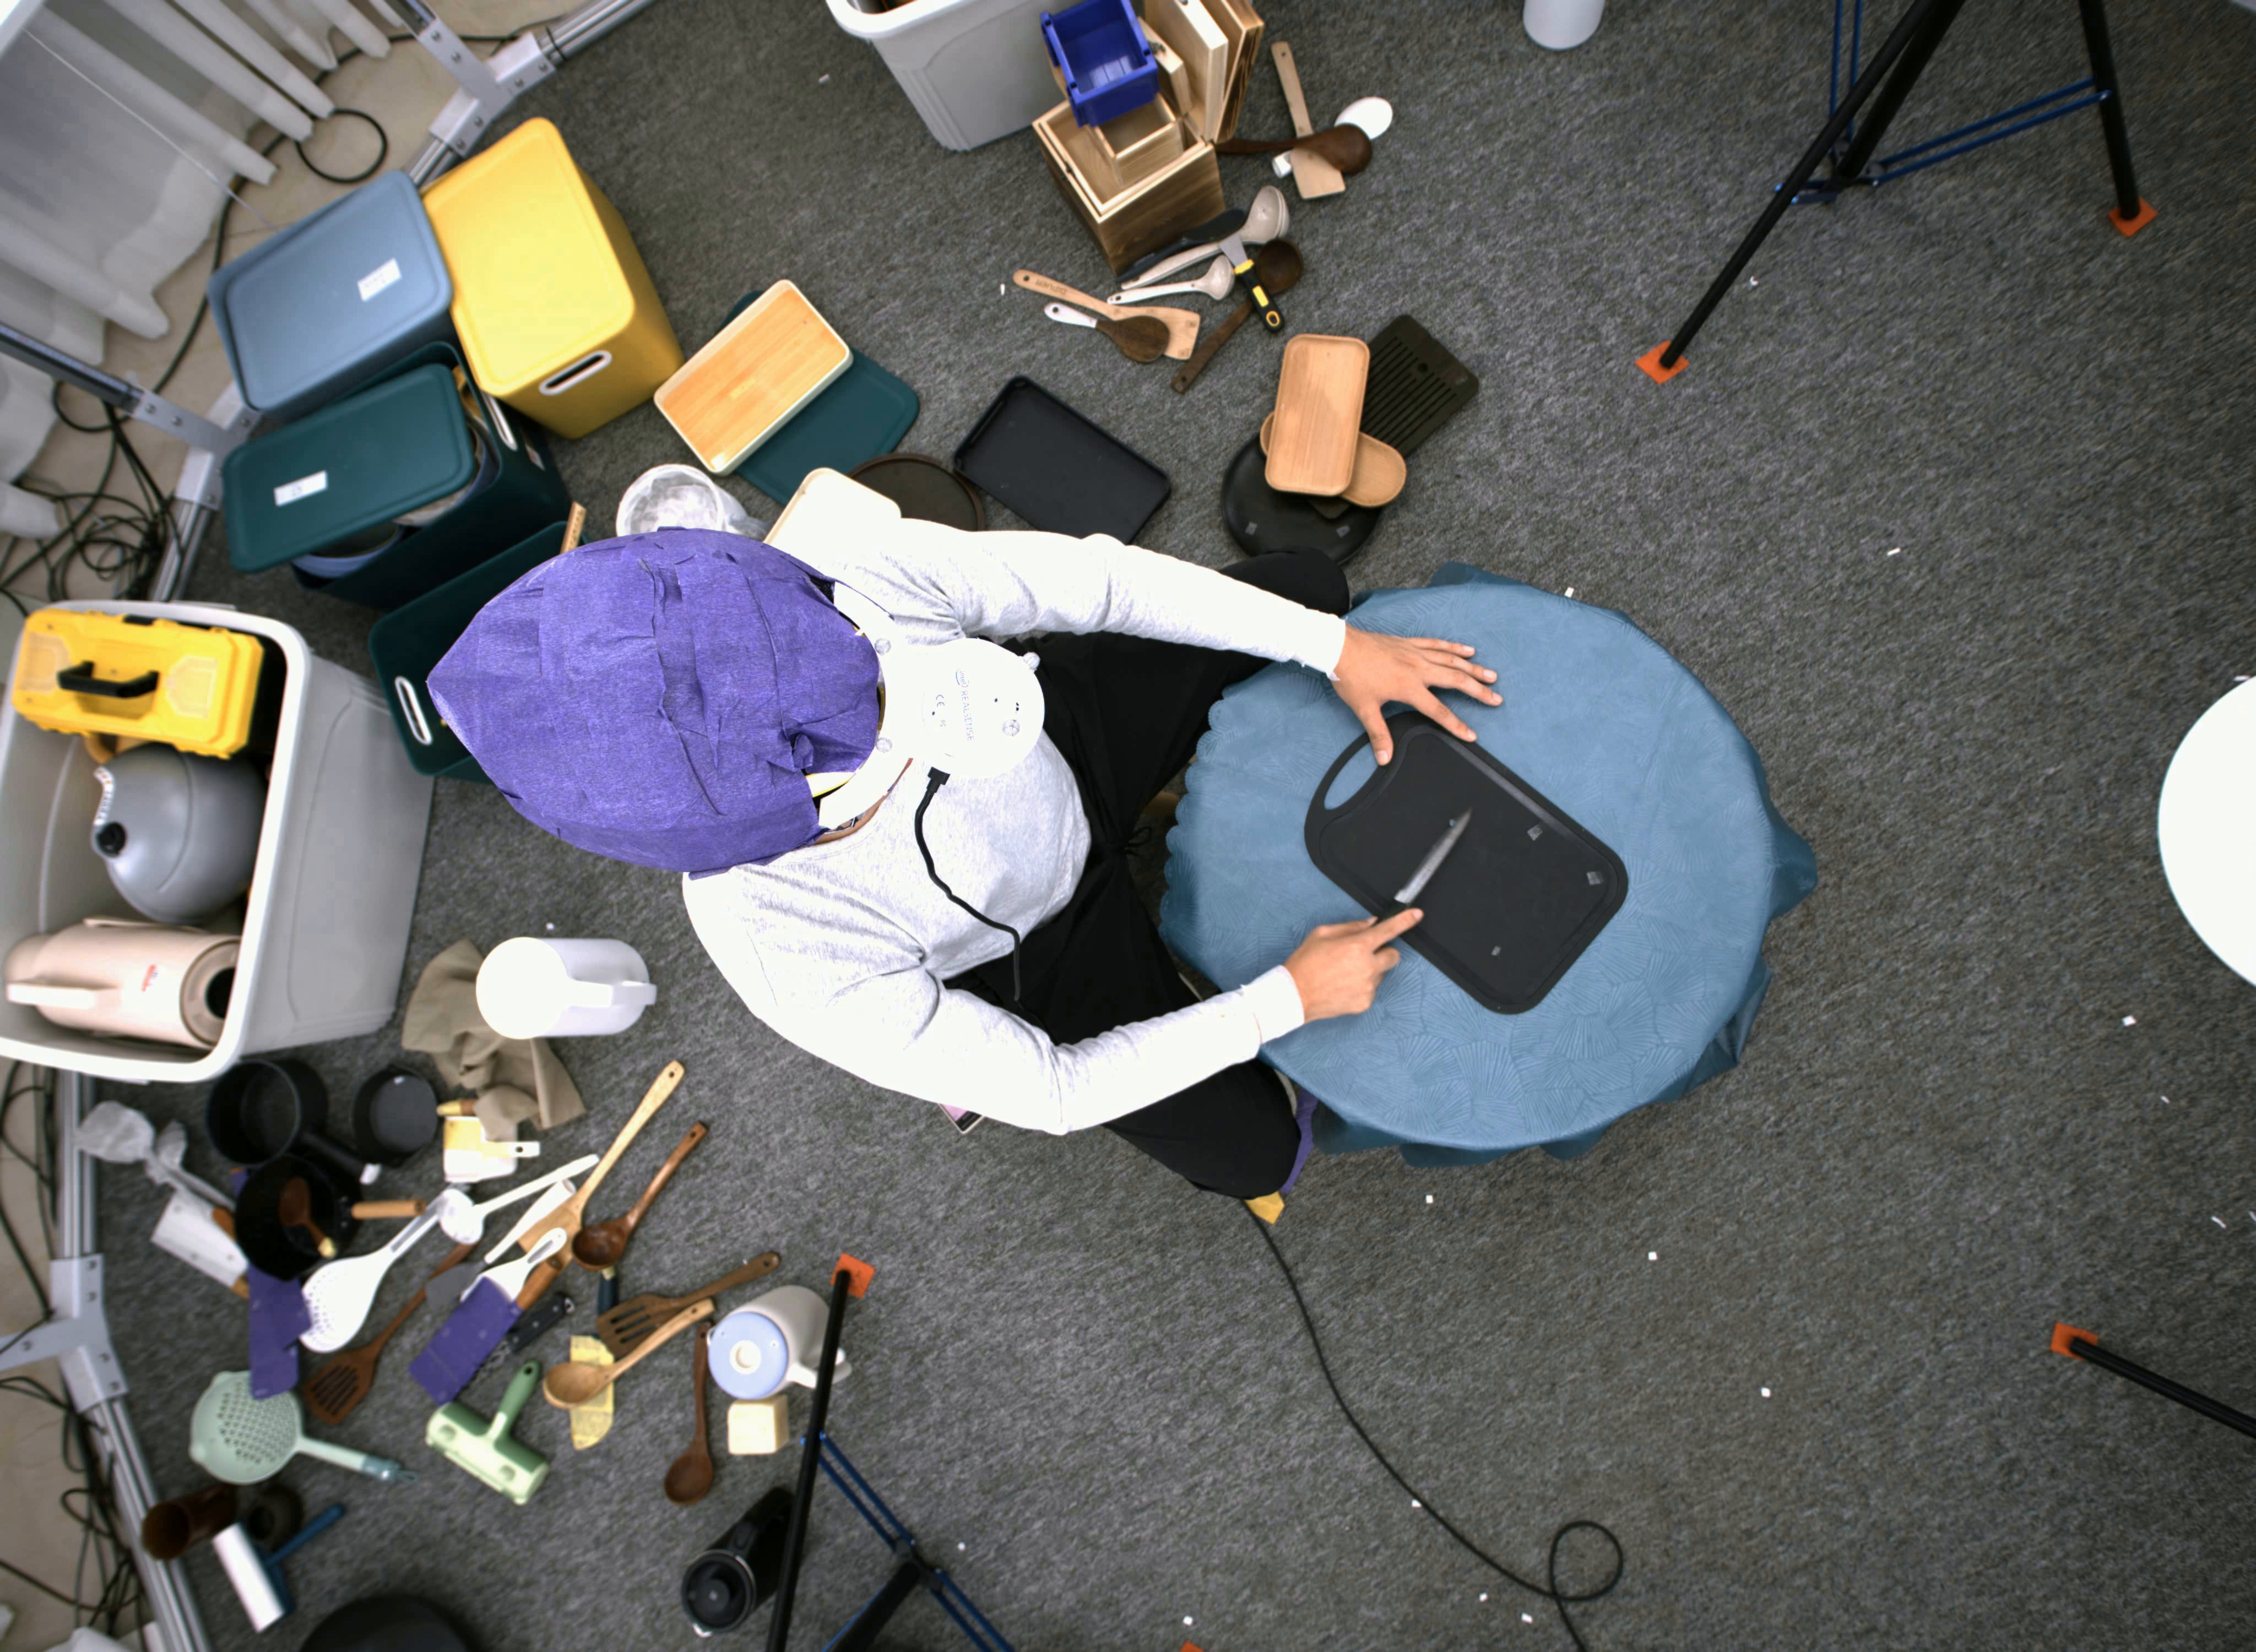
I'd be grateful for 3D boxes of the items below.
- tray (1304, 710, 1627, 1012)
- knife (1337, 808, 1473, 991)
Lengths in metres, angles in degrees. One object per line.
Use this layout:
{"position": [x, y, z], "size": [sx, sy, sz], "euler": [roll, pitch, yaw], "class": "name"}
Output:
{"position": [0.345, 0.028, 1.446], "size": [0.324, 0.010, 0.212], "euler": [41, 94, 10], "class": "tray"}
{"position": [0.293, 0.075, 1.438], "size": [0.237, 0.016, 0.024], "euler": [-53, 41, -4], "class": "knife"}
